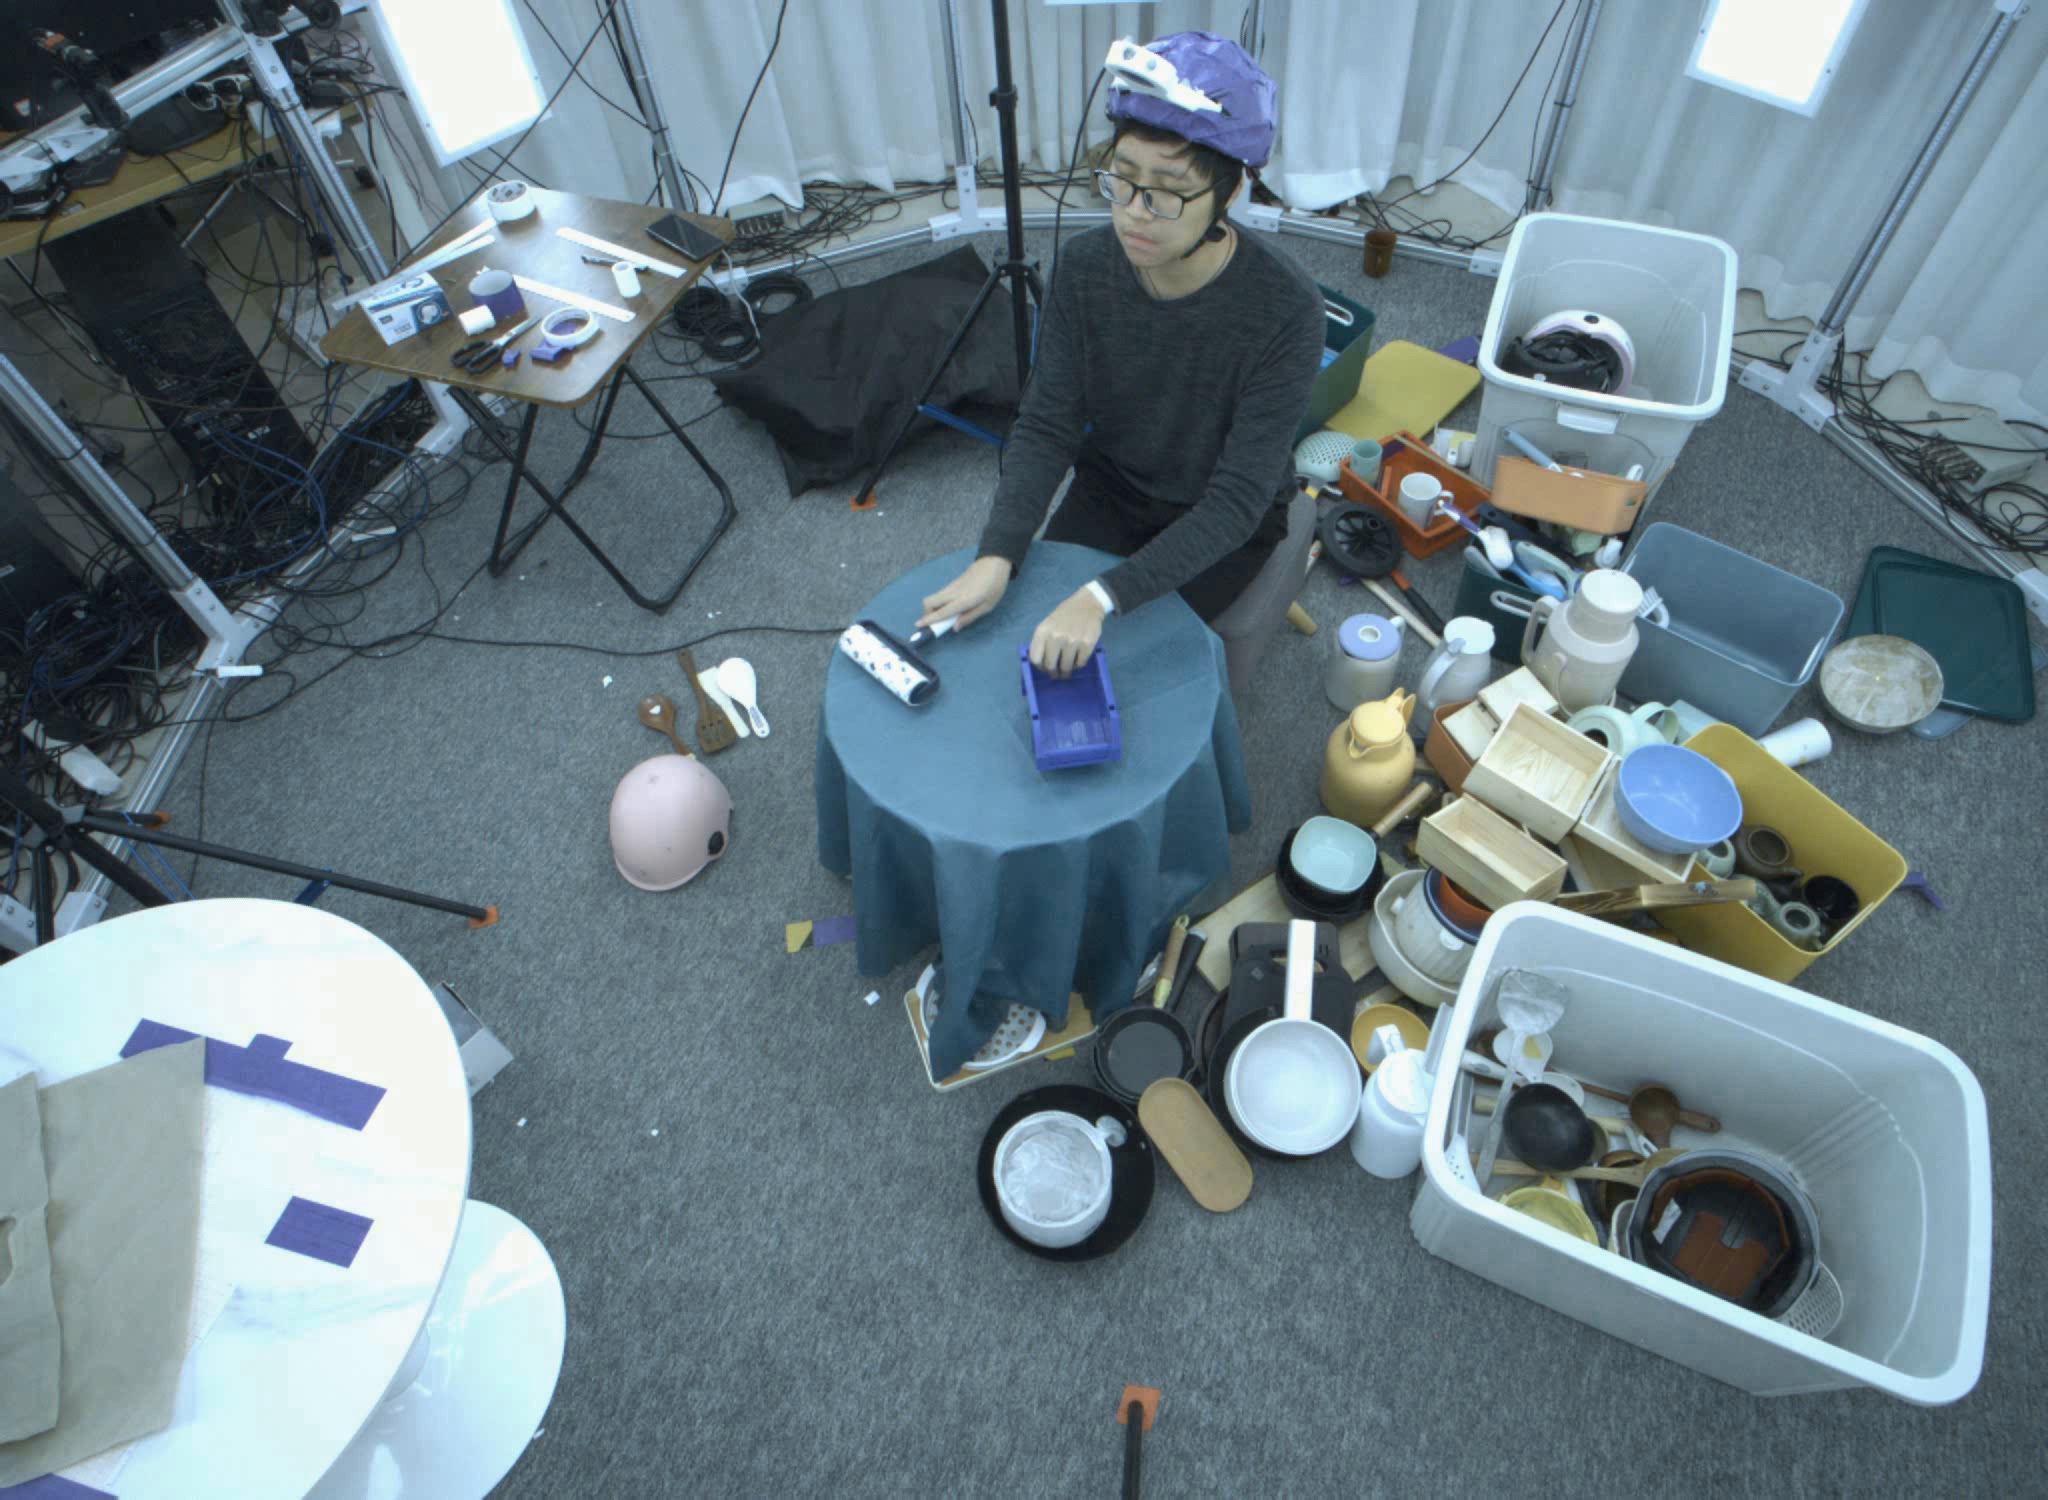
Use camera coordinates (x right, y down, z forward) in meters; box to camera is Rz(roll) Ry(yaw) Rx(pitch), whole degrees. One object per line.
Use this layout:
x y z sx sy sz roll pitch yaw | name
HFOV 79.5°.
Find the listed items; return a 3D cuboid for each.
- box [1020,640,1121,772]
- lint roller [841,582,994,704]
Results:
0.066 -0.059 1.747 0.125 0.082 0.177 -6 54 -5 | box
-0.142 -0.192 1.895 0.173 0.051 0.248 38 66 26 | lint roller
